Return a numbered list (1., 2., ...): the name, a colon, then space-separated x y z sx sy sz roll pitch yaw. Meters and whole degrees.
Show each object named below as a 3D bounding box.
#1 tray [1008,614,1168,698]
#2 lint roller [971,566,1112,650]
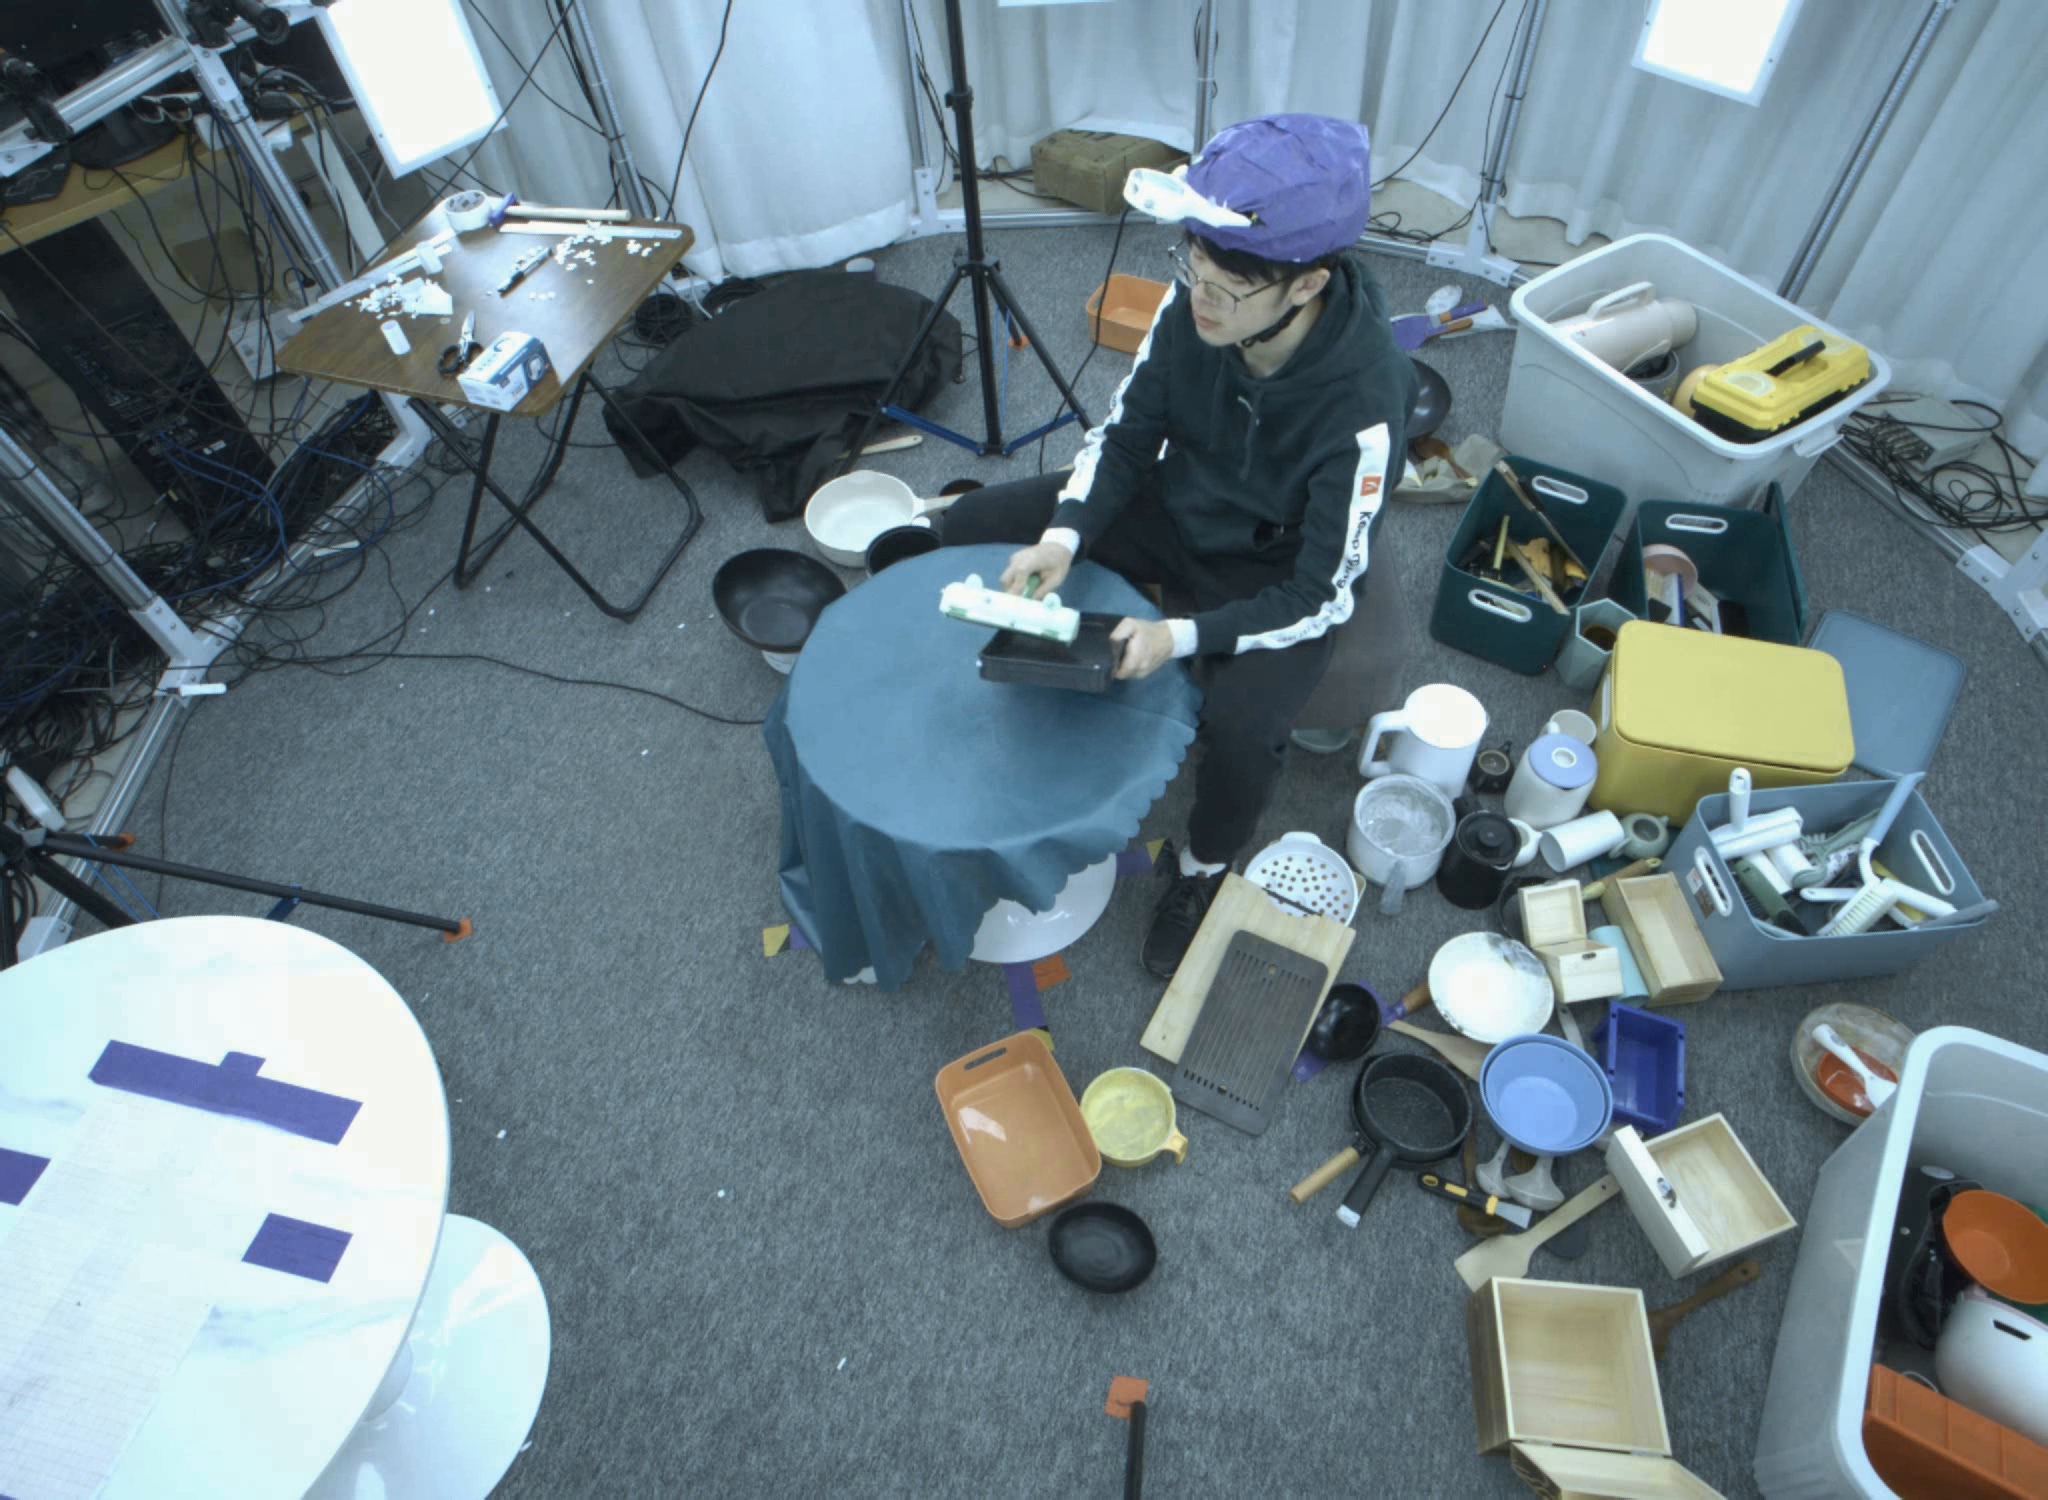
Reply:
1. tray: 0.096 -0.142 1.751 0.183 0.037 0.318 9 20 10
2. lint roller: 0.043 -0.231 1.775 0.197 0.083 0.183 16 49 9
